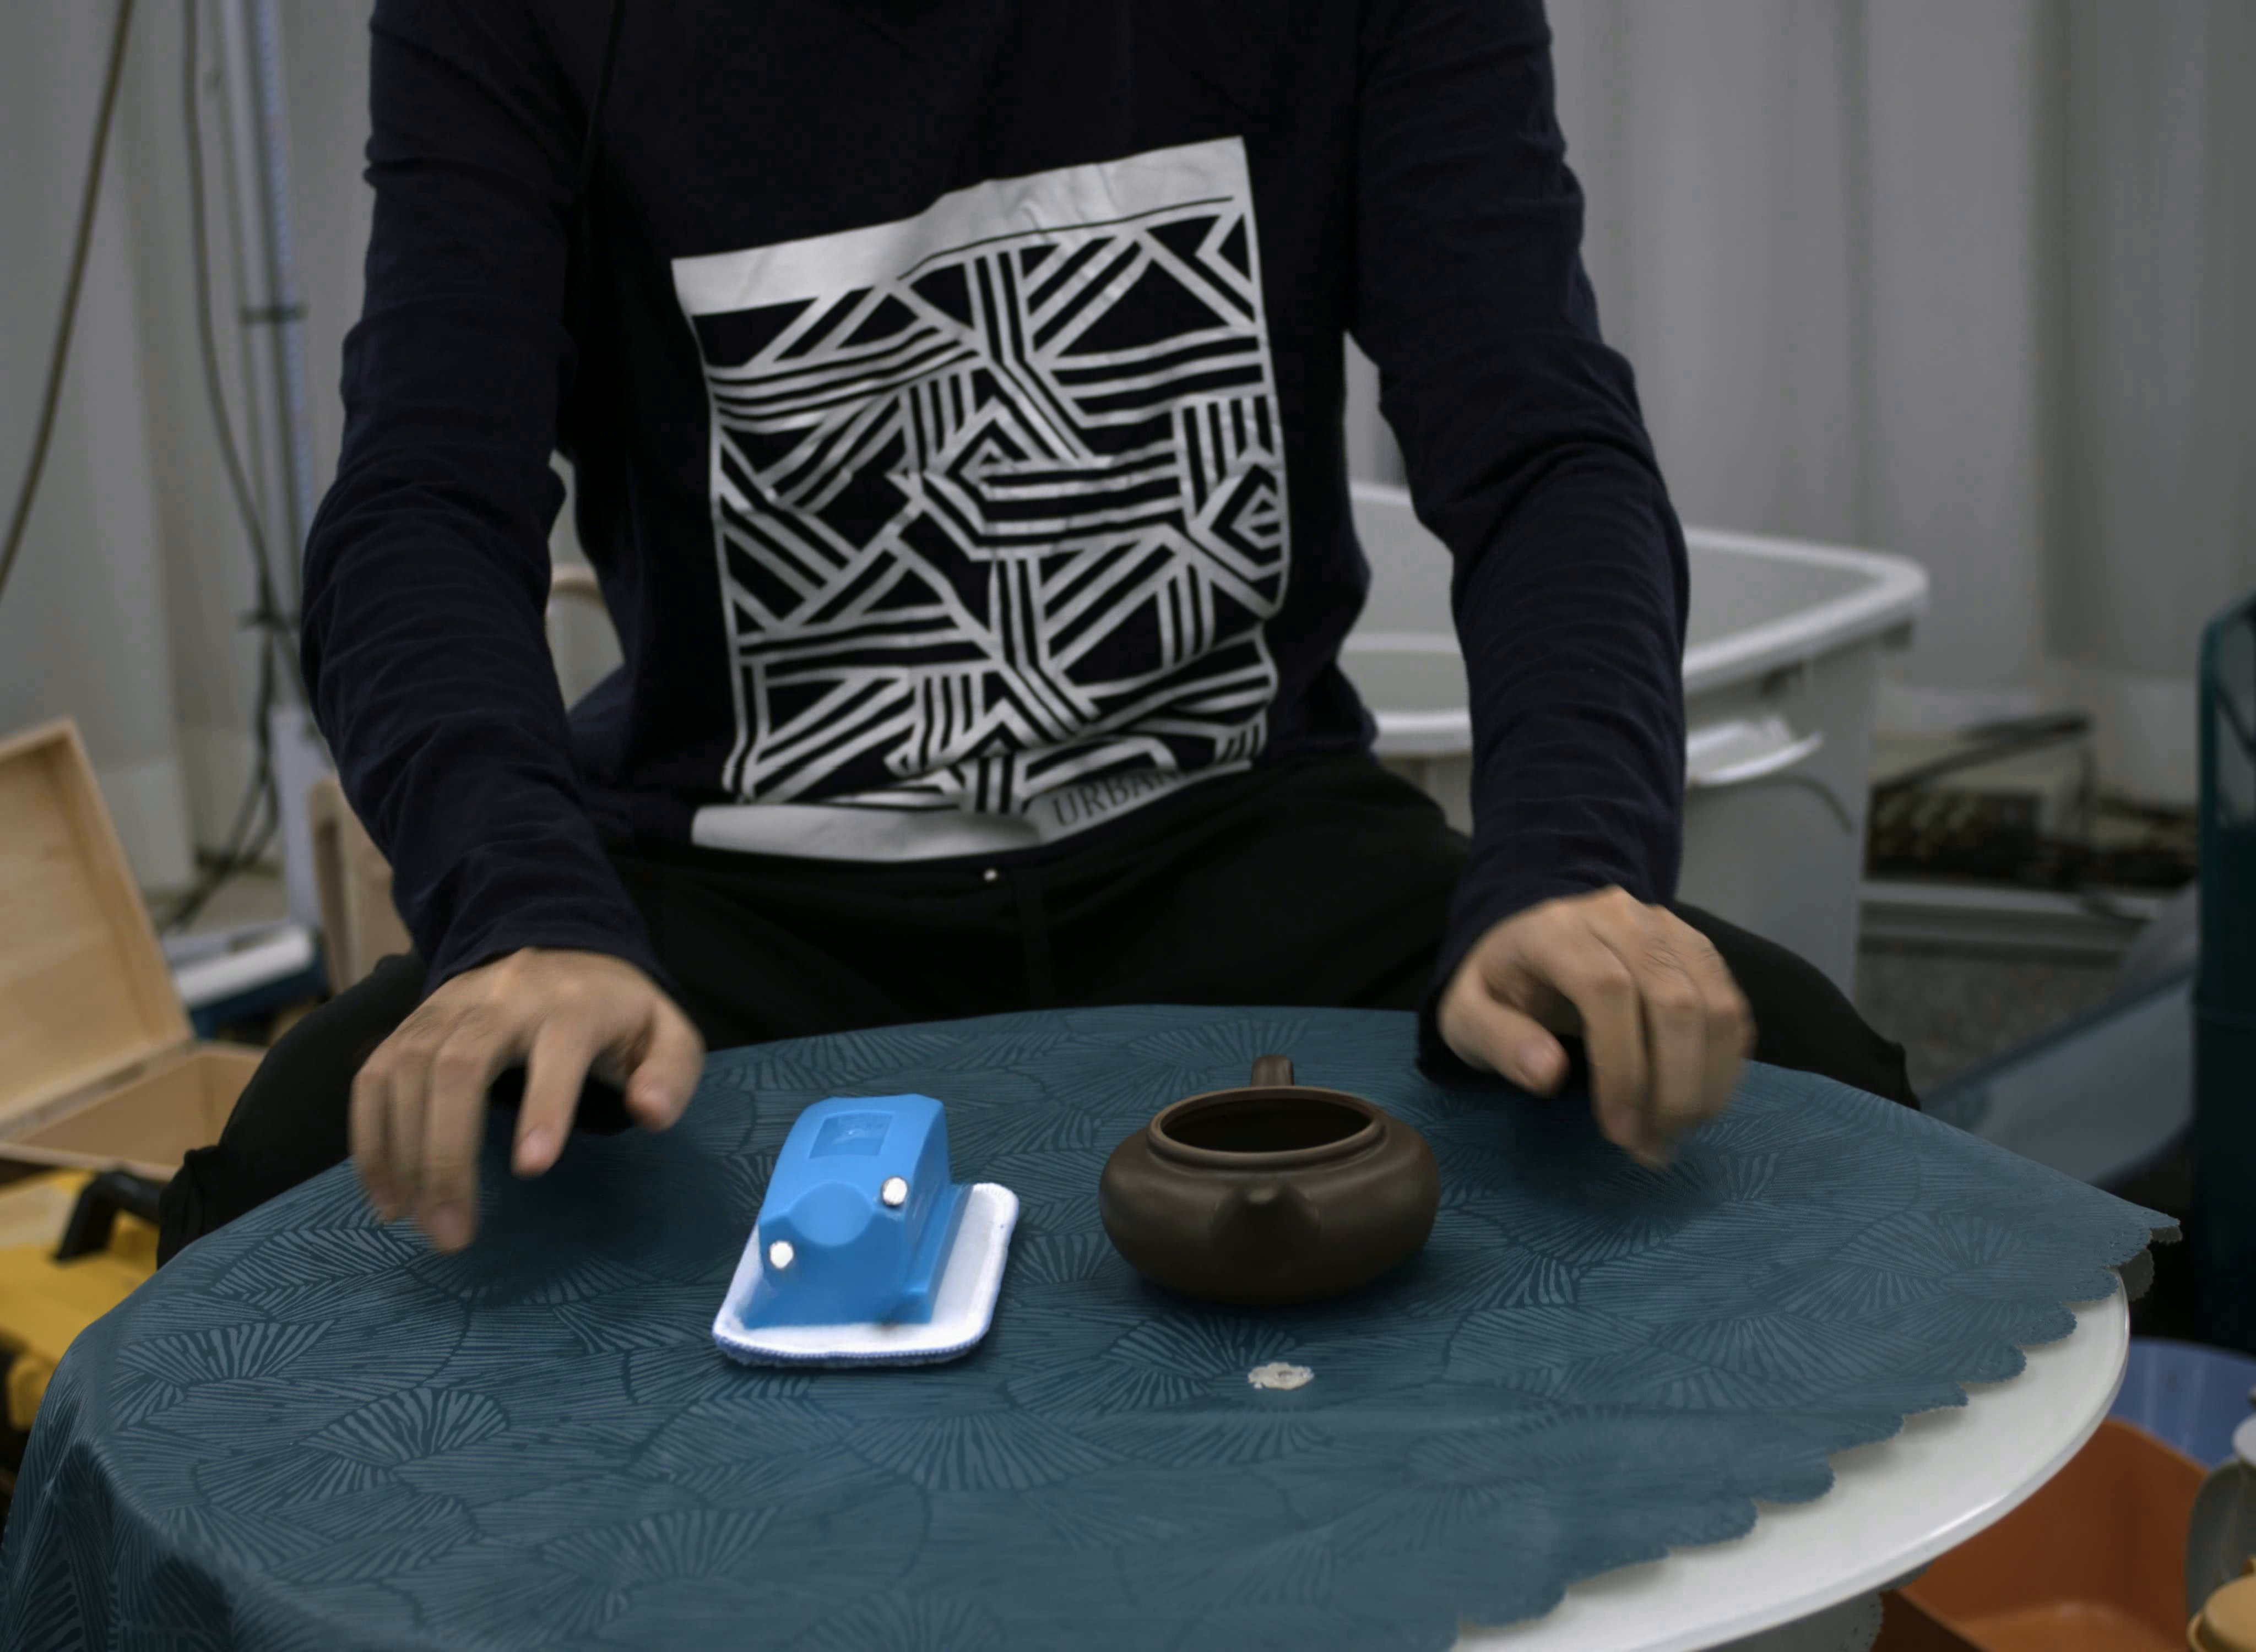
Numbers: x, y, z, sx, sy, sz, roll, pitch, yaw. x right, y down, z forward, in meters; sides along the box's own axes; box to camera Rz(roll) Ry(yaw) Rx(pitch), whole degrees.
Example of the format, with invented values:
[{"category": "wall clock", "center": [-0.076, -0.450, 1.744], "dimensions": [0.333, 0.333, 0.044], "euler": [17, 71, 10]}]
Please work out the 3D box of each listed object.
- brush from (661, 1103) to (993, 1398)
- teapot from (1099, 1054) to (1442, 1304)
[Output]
[{"category": "brush", "center": [-0.088, 0.123, 1.634], "dimensions": [0.084, 0.055, 0.145], "euler": [6, 17, 6]}, {"category": "teapot", "center": [0.042, 0.107, 1.634], "dimensions": [0.102, 0.053, 0.154], "euler": [-3, 15, -3]}]
